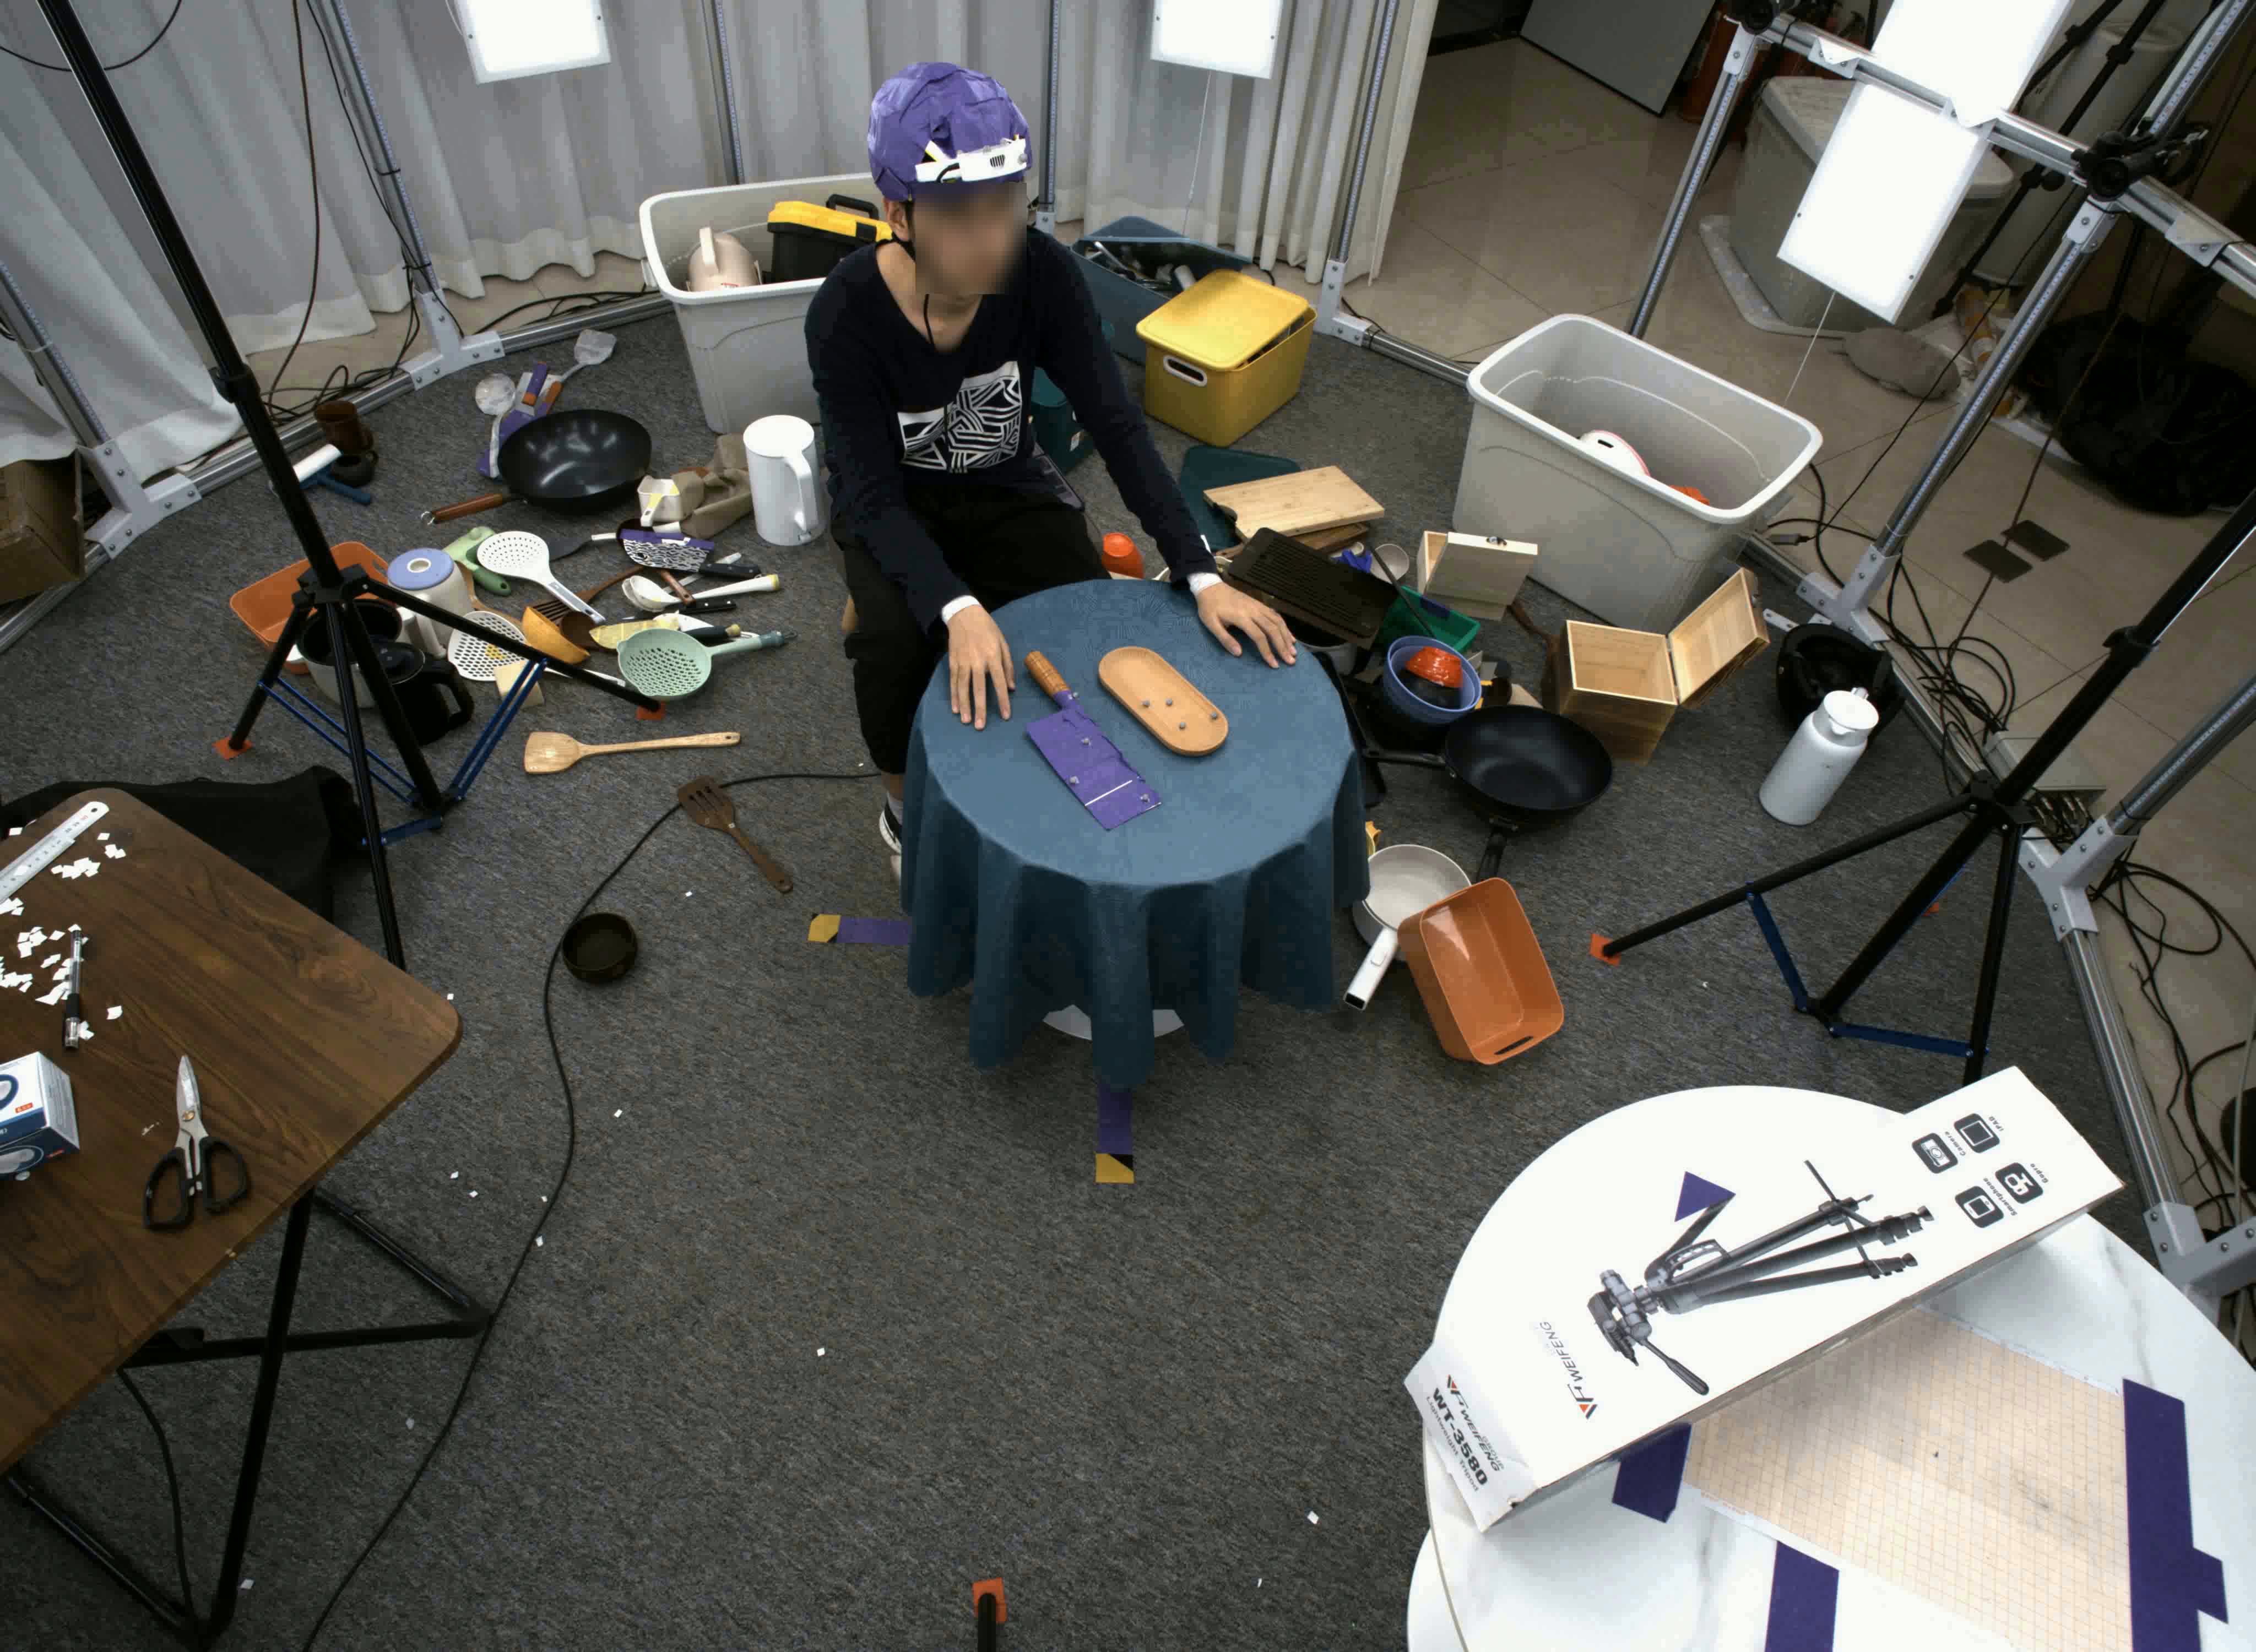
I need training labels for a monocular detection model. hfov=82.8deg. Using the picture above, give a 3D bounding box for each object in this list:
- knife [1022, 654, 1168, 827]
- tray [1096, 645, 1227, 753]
[{"bbox_3d":[-0.075,-0.122,1.750,0.104,0.031,0.321,-26,56,-24],"label":"knife"},{"bbox_3d":[0.046,-0.181,1.817,0.102,0.020,0.235,-29,55,-26],"label":"tray"}]
